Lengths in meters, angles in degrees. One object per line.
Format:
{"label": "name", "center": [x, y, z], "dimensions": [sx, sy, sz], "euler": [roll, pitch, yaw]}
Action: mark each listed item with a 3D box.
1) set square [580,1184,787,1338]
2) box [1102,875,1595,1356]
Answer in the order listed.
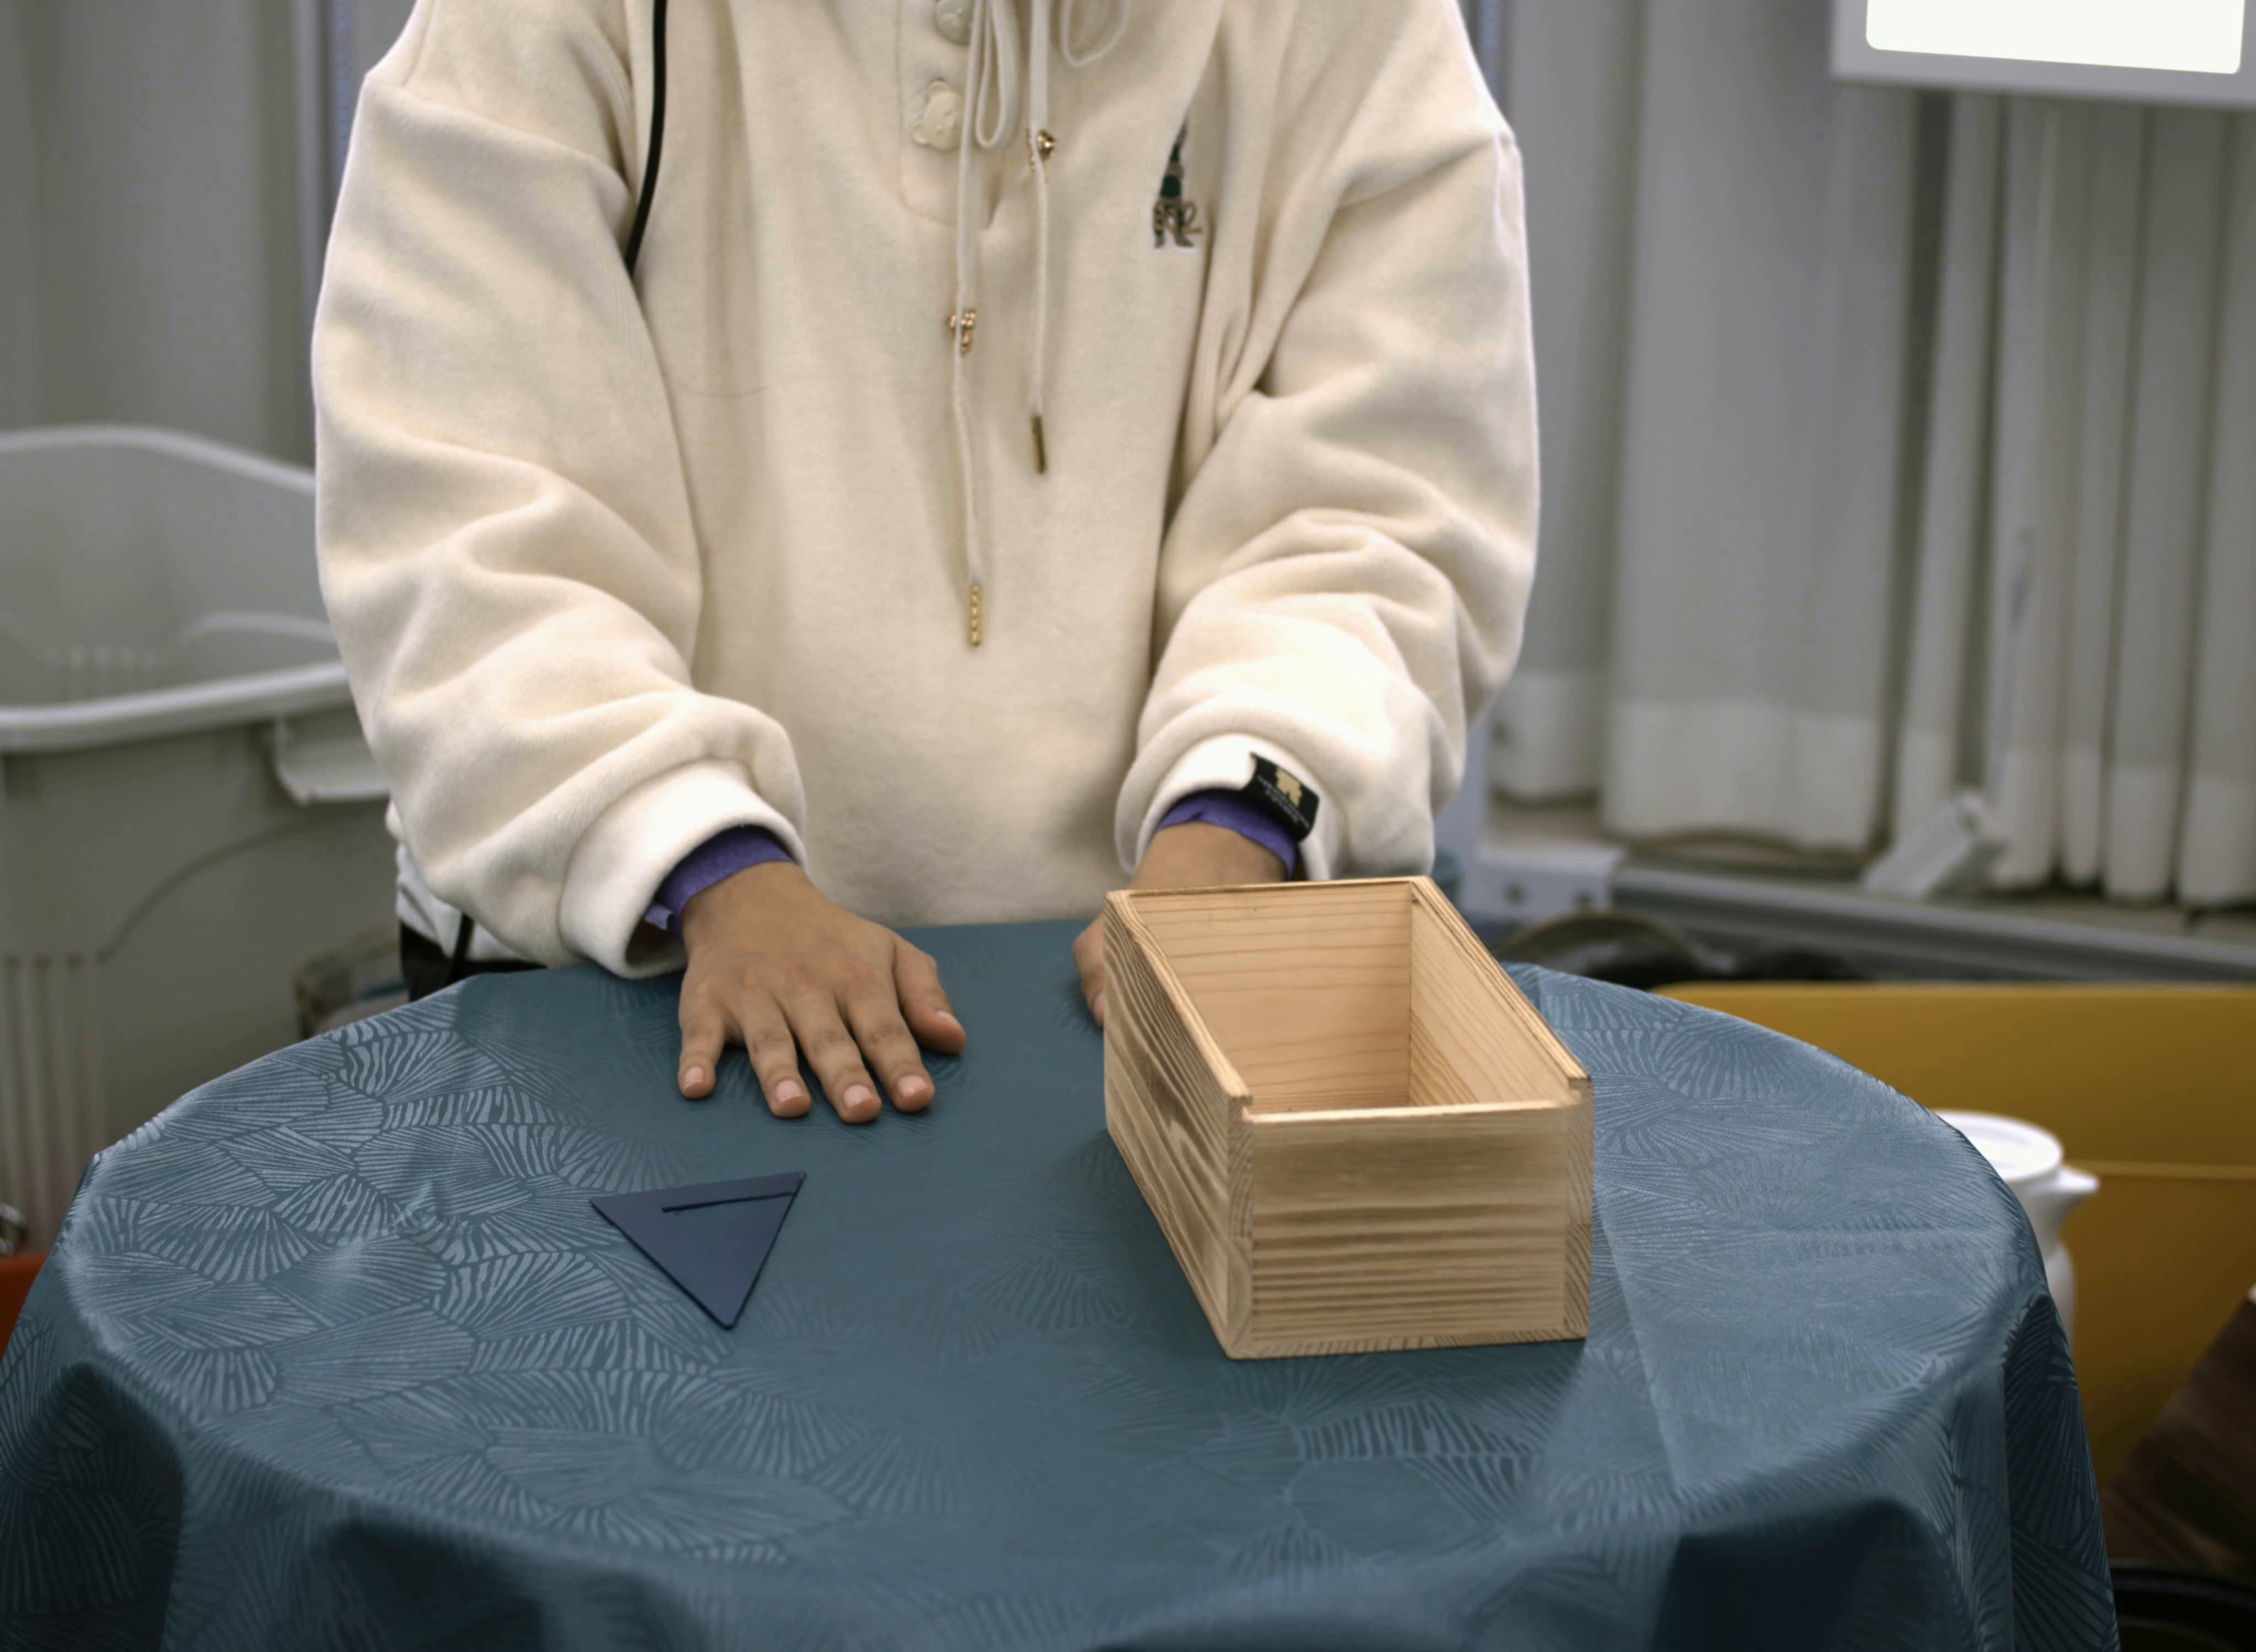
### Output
{"label": "set square", "center": [-0.143, 0.126, 1.561], "dimensions": [0.061, 0.006, 0.132], "euler": [4, 16, 9]}
{"label": "box", "center": [0.061, 0.083, 1.580], "dimensions": [0.107, 0.081, 0.209], "euler": [-2, 16, -10]}
